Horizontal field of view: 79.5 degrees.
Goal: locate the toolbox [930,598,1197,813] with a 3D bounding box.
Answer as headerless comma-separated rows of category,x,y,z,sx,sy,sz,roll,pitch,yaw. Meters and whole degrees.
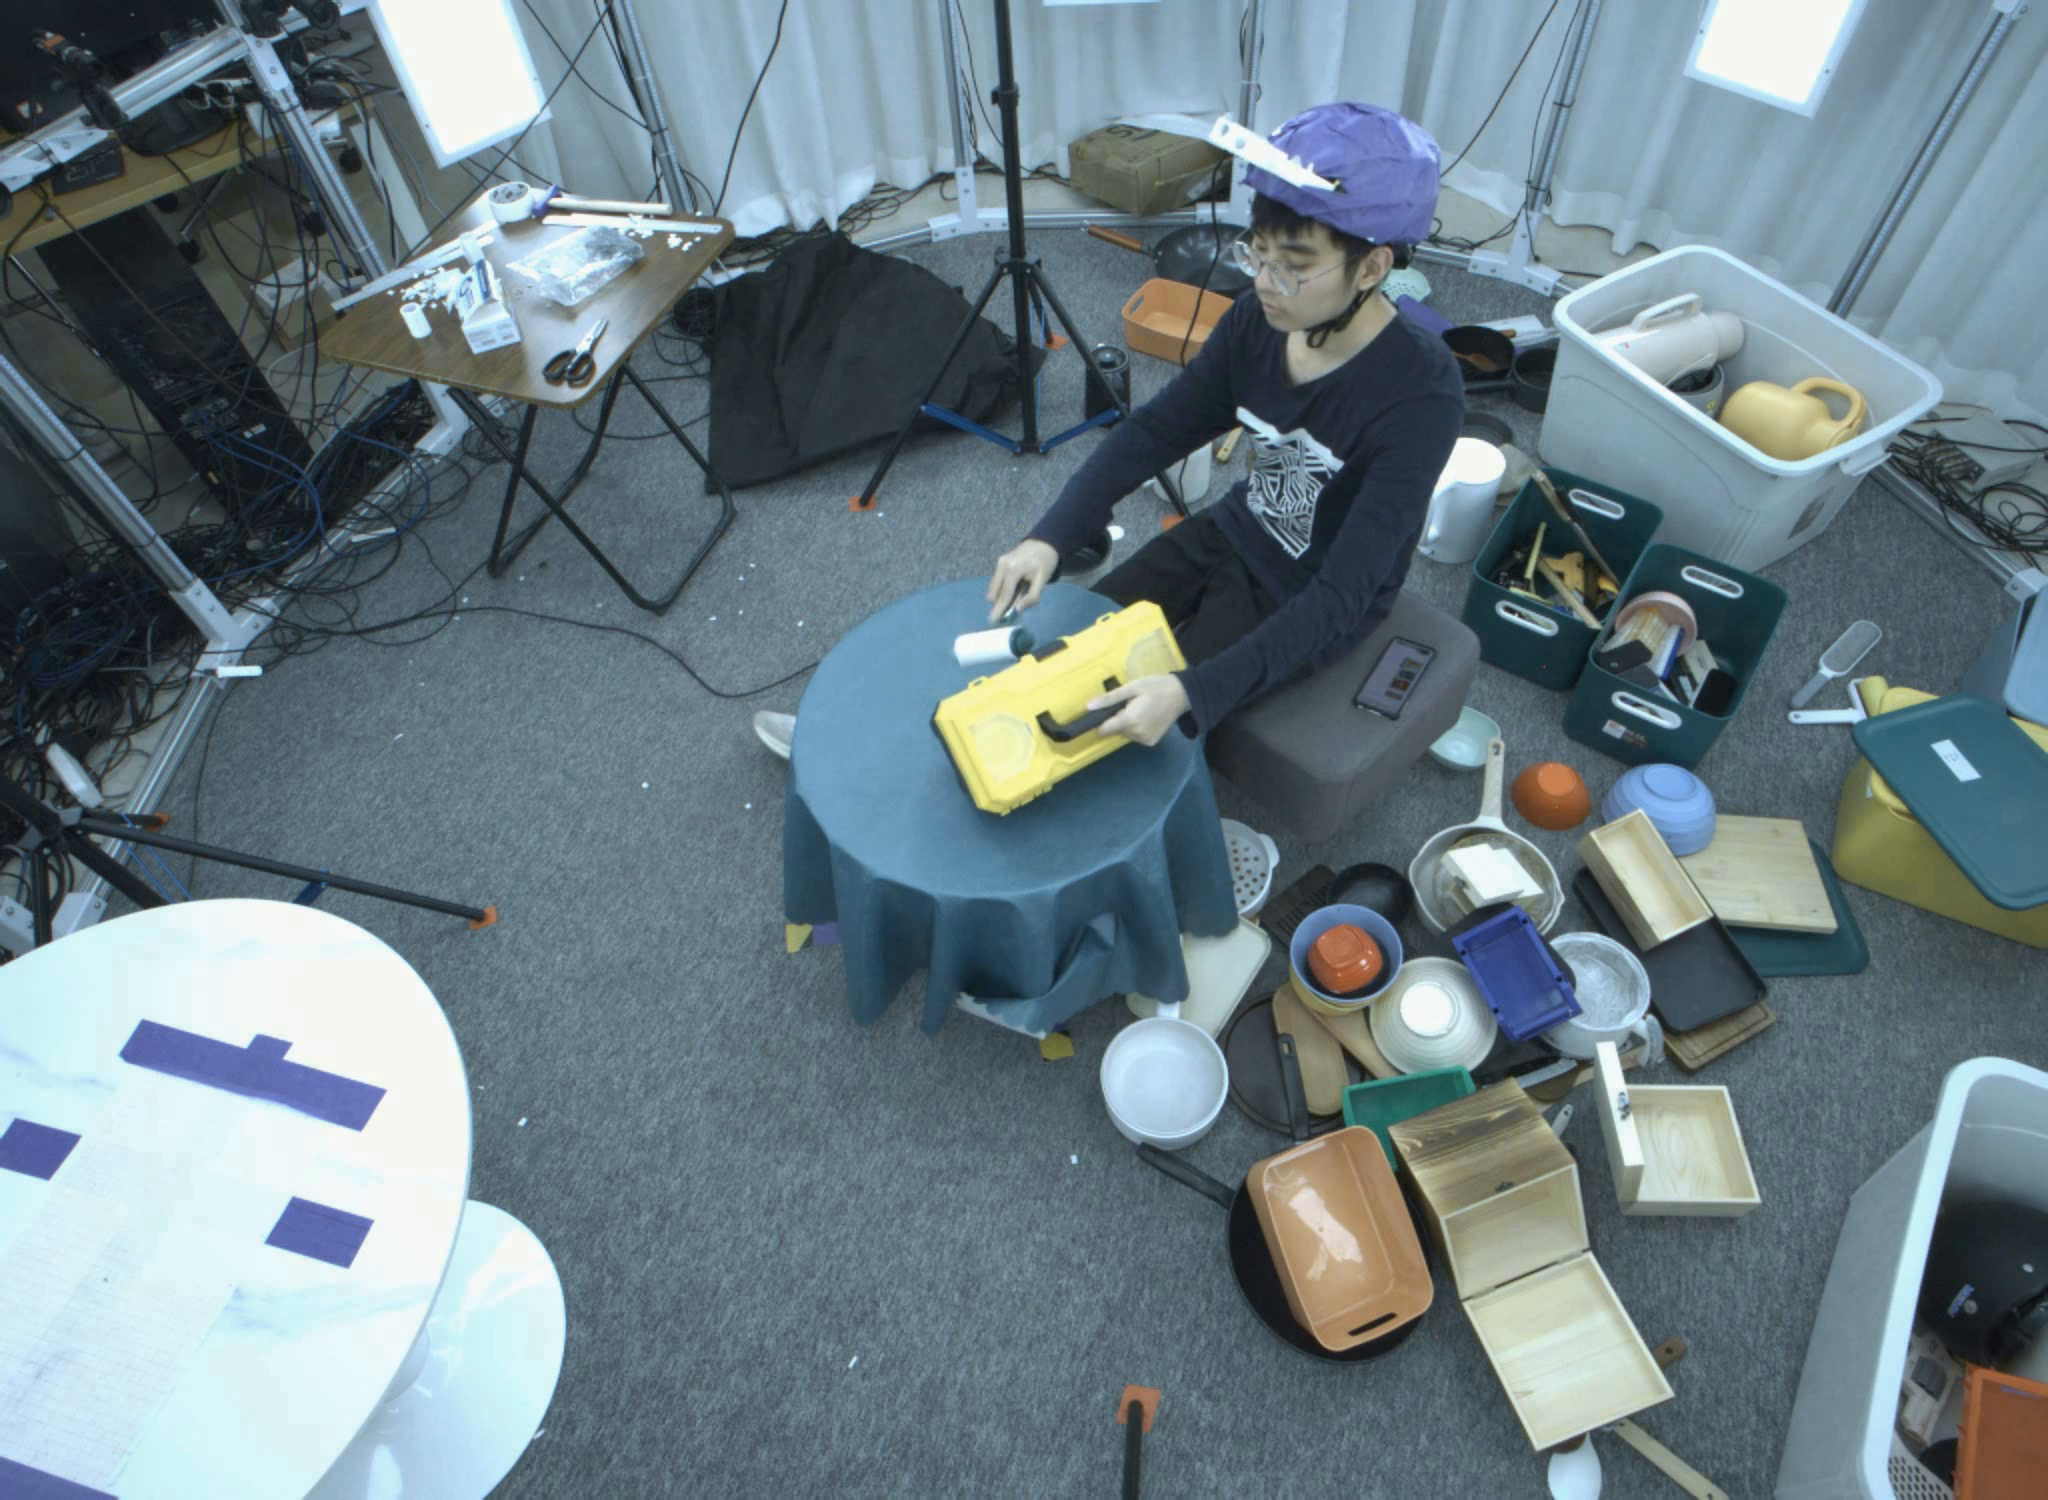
toolbox,0.048,-0.063,1.708,0.354,0.170,0.182,-28,99,-18

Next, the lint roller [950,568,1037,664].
lint roller,-0.027,-0.204,1.750,0.131,0.049,0.179,-5,53,39
